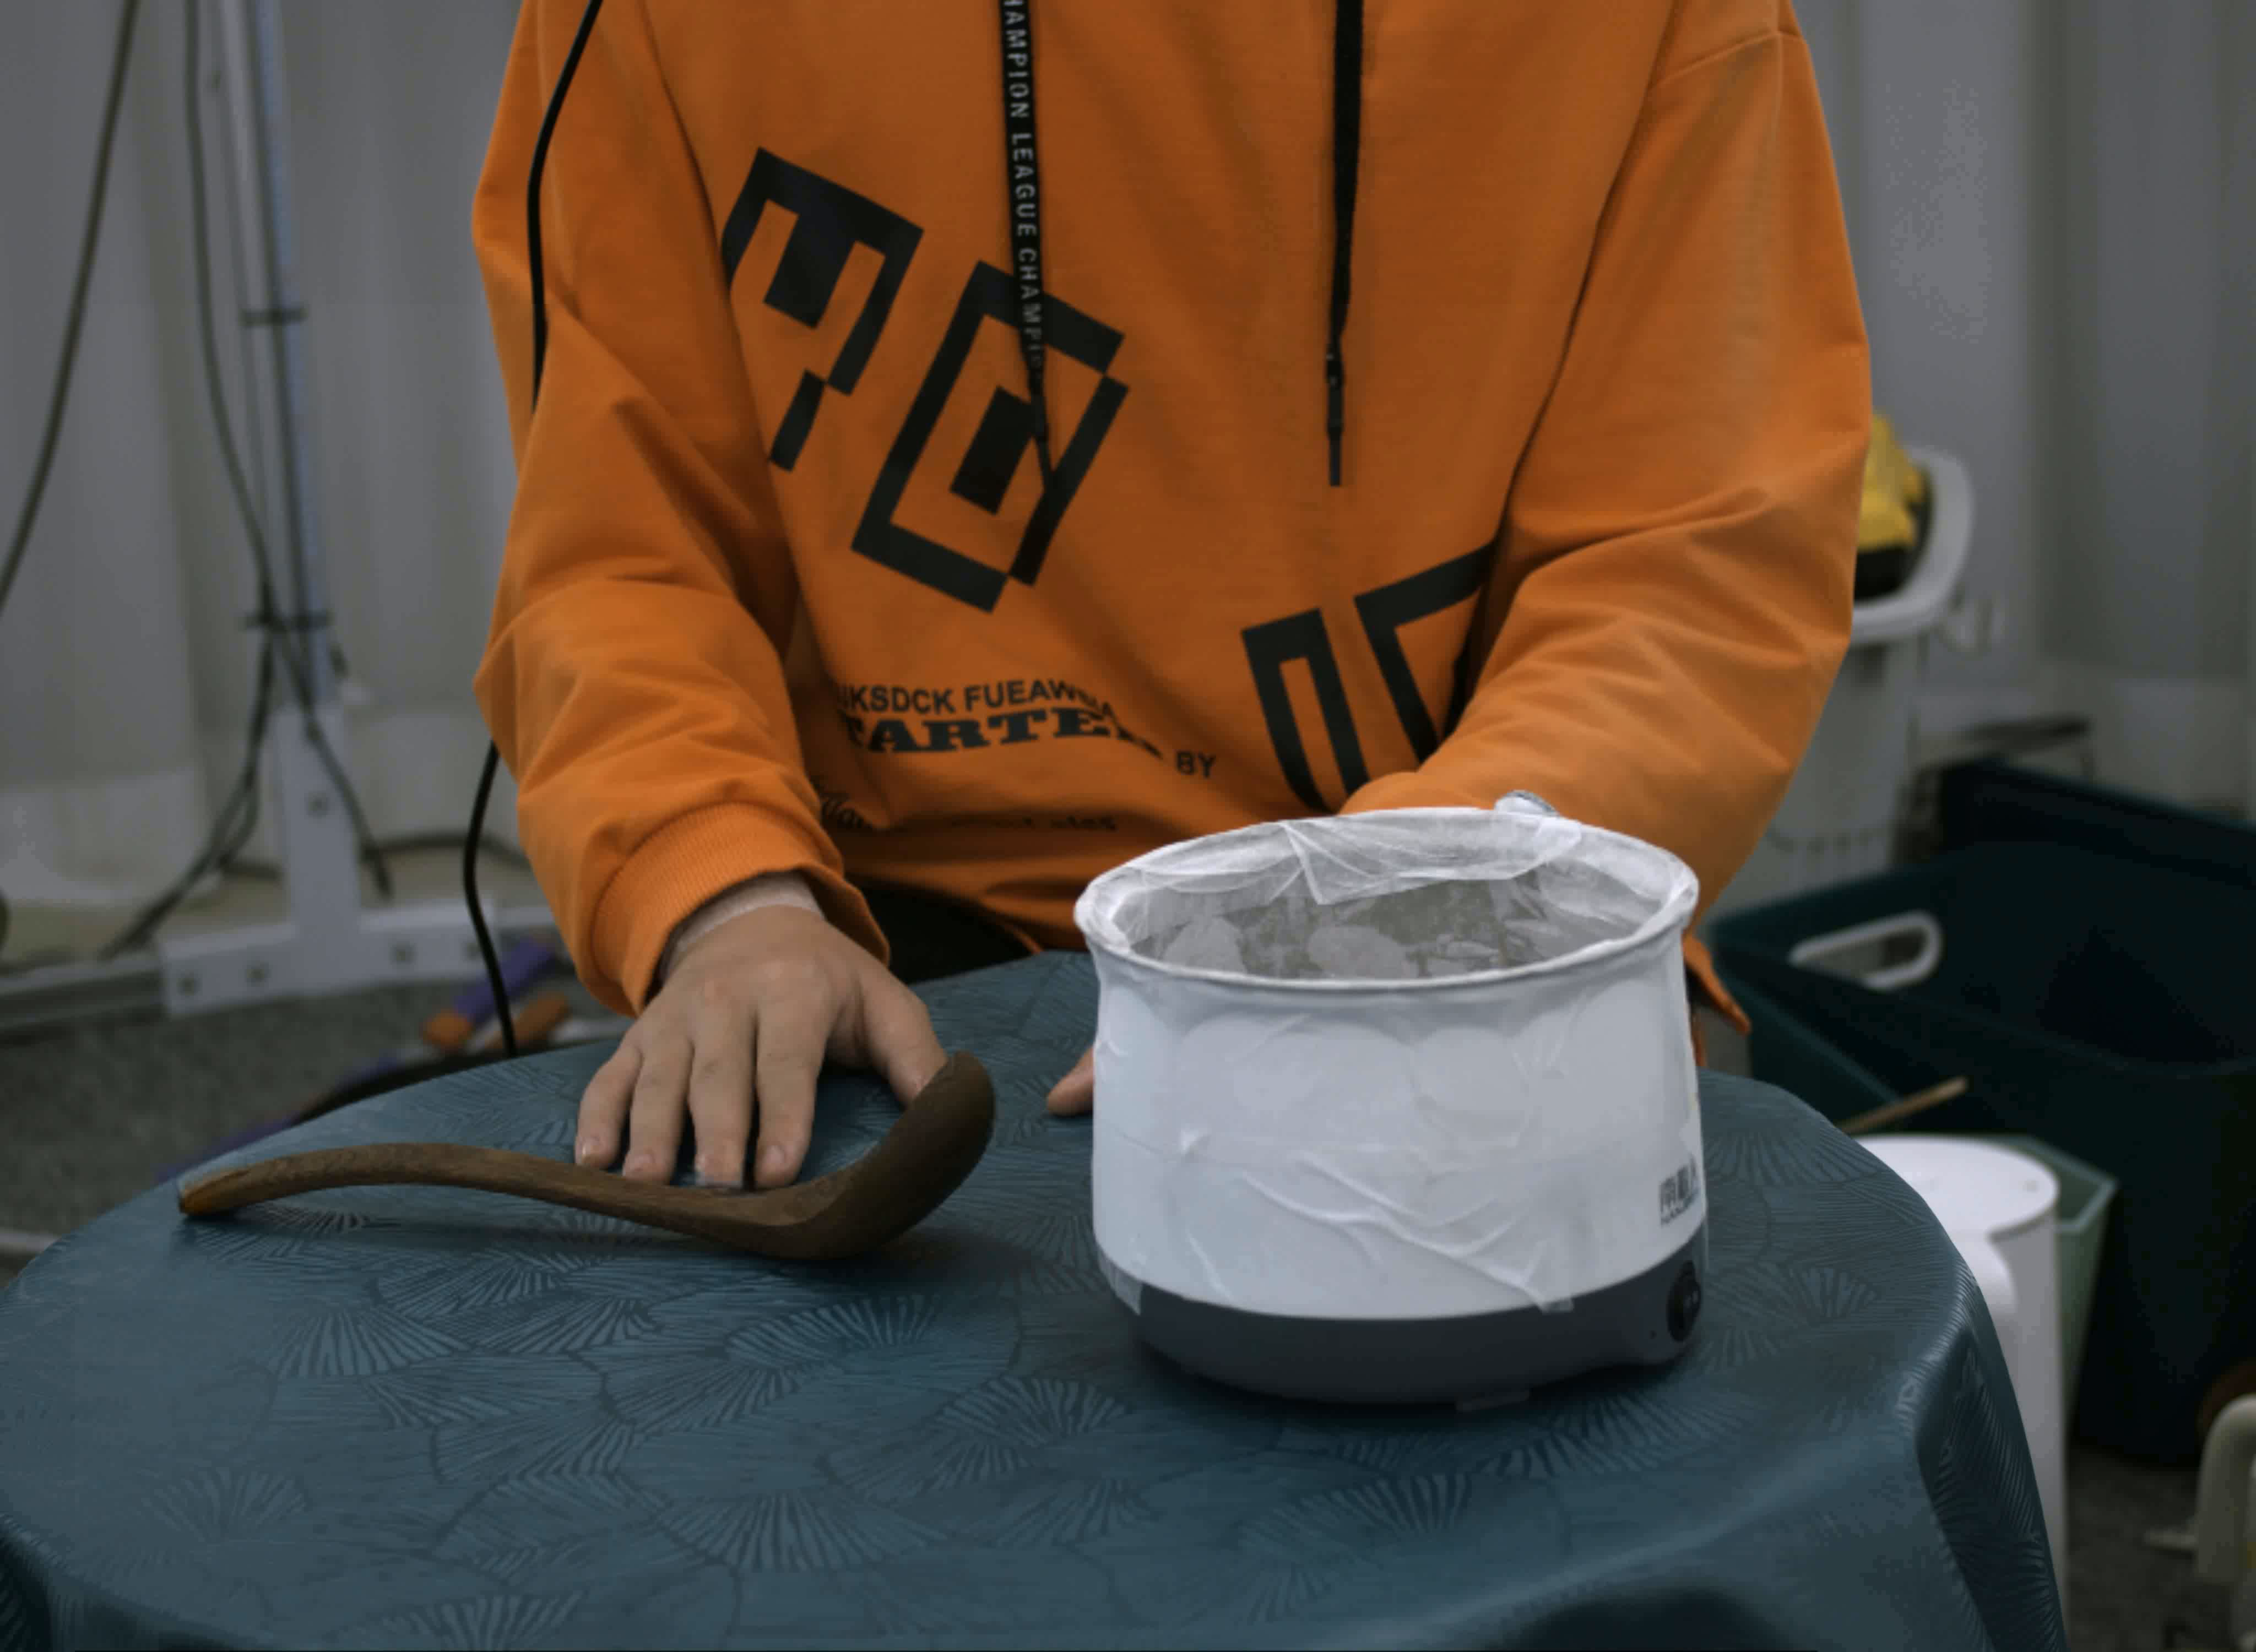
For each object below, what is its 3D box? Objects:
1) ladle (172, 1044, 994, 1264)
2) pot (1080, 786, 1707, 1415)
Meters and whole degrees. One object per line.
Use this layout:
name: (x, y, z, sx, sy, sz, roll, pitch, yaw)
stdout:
ladle: (-0.172, 0.094, 1.691, 0.274, 0.071, 0.076, 3, 13, 19)
pot: (0.088, 0.073, 1.589, 0.179, 0.136, 0.234, 5, 17, 25)
